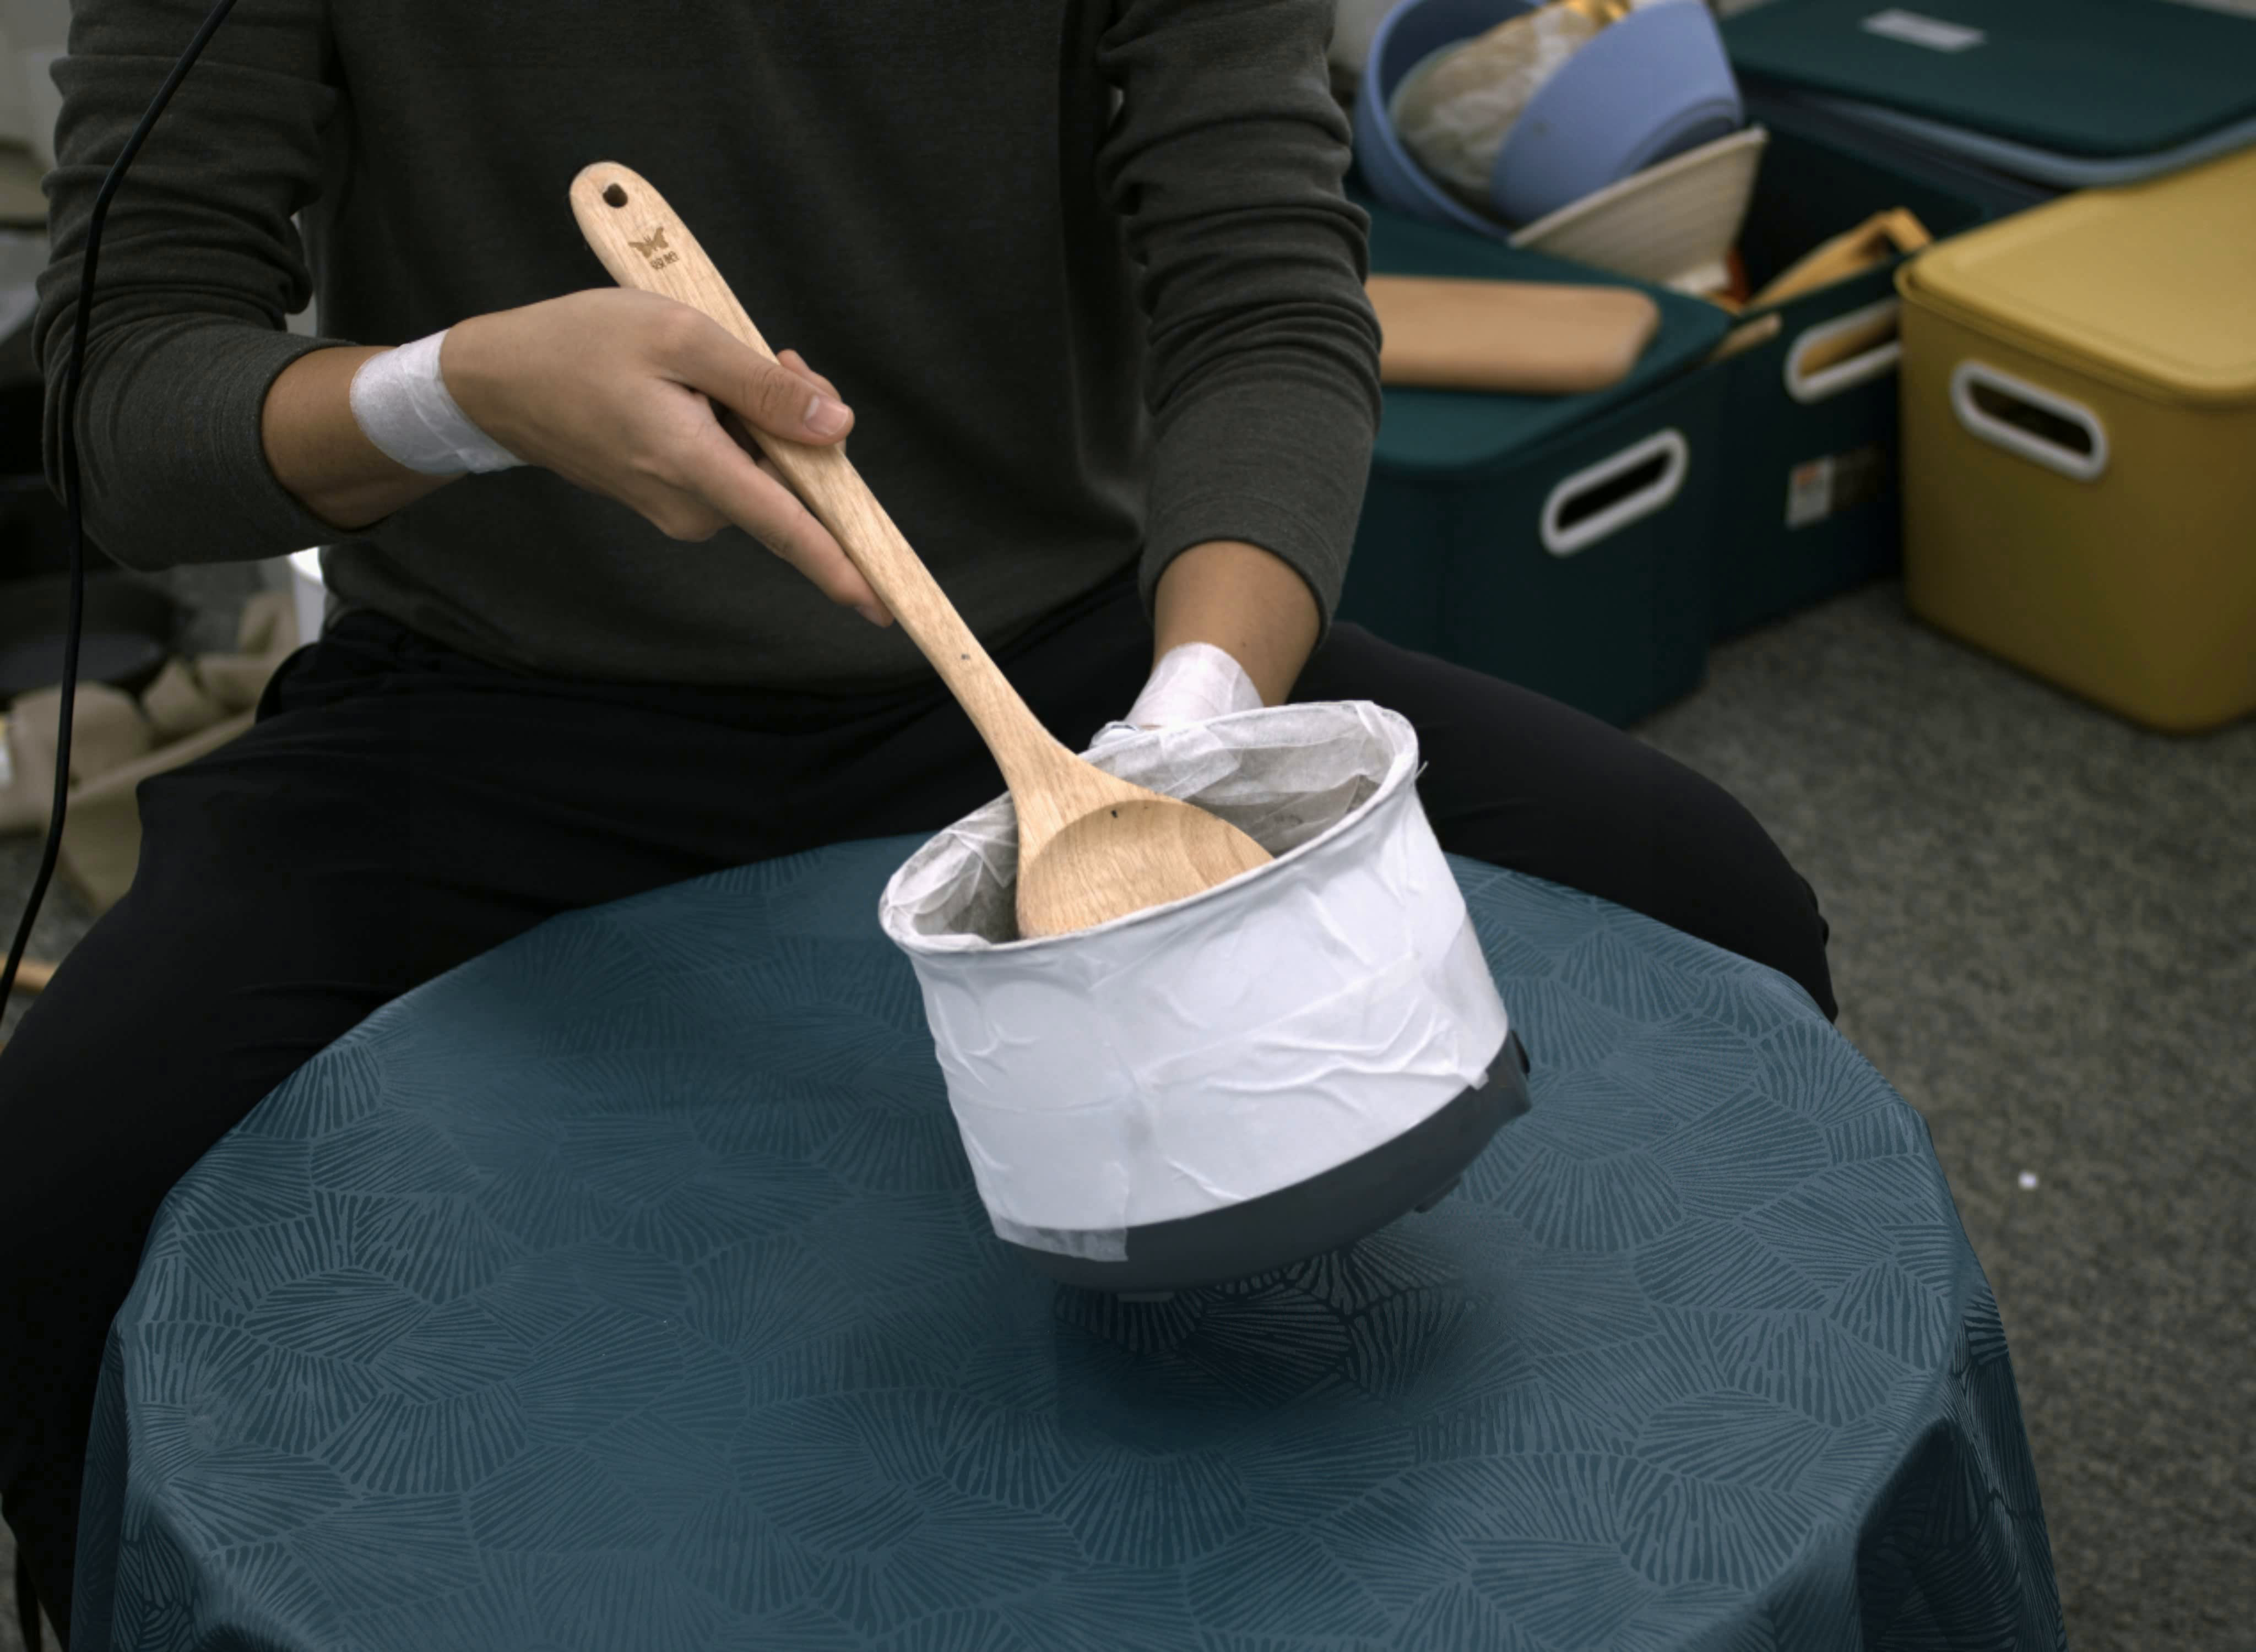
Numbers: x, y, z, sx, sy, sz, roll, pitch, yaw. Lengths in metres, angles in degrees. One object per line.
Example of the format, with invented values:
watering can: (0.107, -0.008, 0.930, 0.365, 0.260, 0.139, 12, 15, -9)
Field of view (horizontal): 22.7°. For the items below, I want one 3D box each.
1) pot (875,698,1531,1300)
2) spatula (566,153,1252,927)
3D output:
pot: (0.021, 0.047, 1.786, 0.178, 0.136, 0.235, -19, 17, -2)
spatula: (-0.078, -0.077, 1.836, 0.096, 0.018, 0.394, -28, 68, -23)
